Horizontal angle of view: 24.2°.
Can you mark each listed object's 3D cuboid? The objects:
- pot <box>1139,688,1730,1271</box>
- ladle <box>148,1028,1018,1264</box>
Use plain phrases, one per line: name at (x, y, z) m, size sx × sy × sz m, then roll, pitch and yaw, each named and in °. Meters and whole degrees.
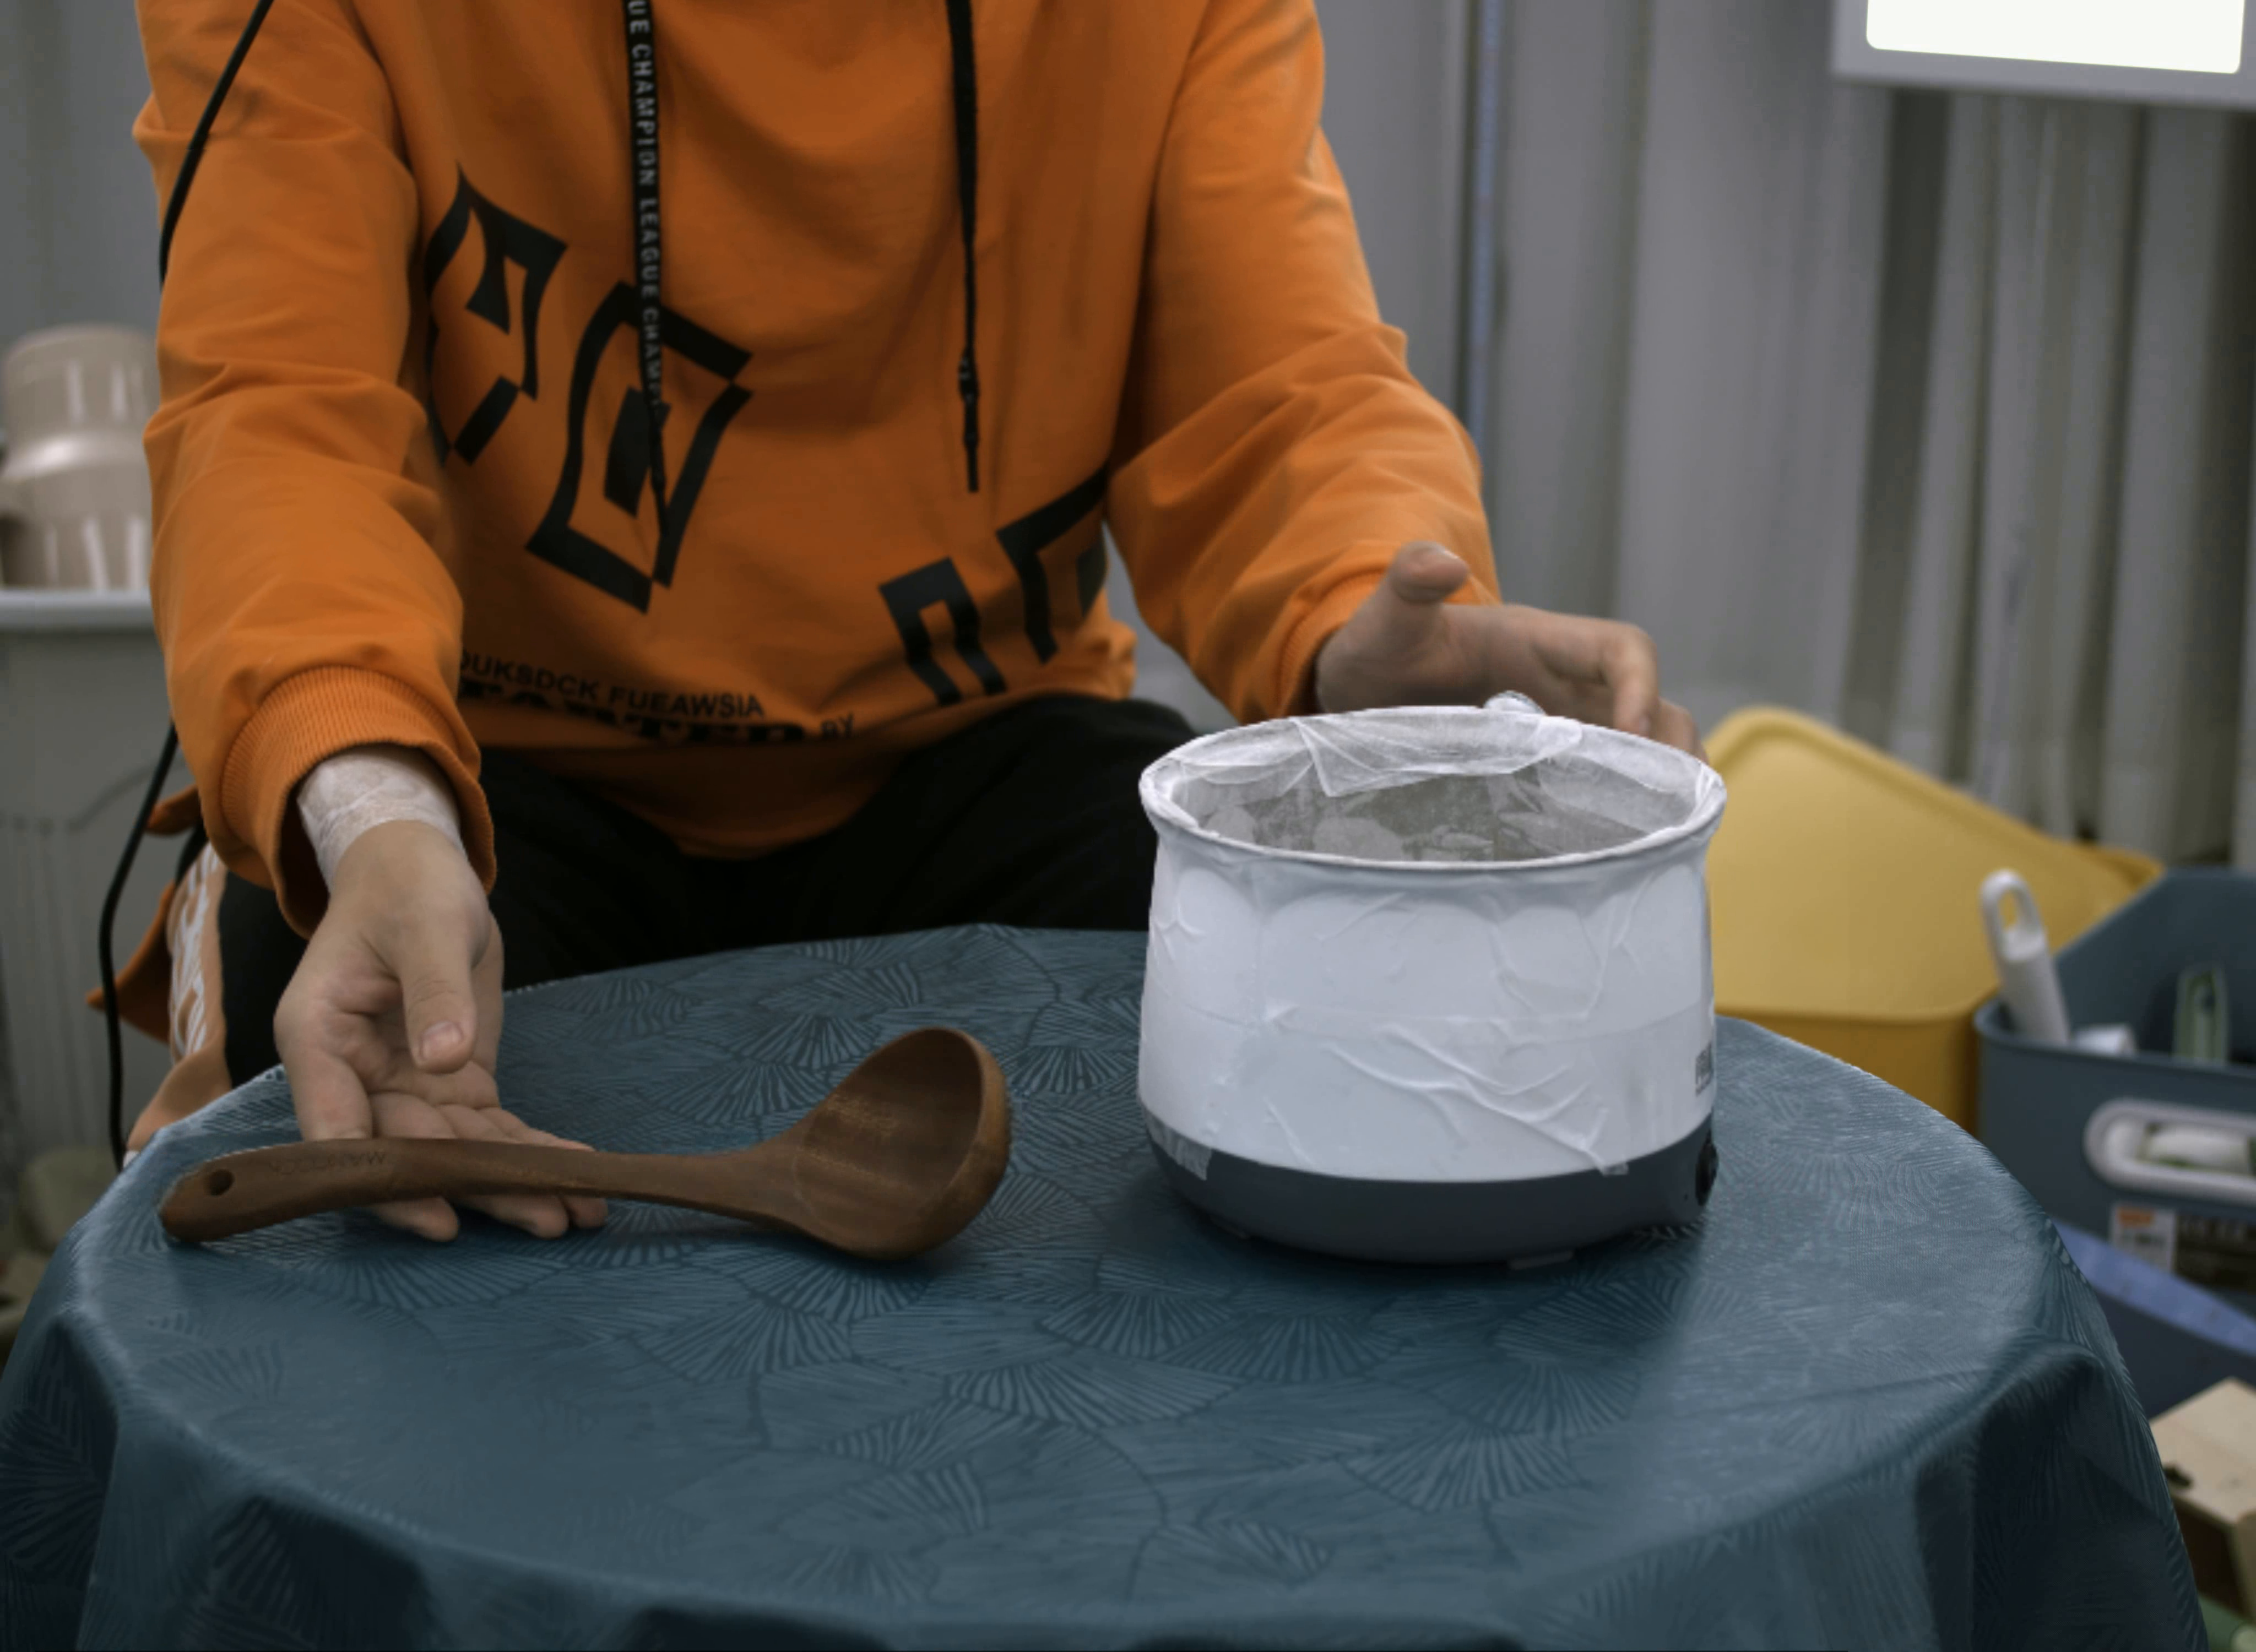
pot at (0.099, 0.041, 1.625) m, size 0.177 × 0.138 × 0.233 m, roll 5°, pitch 17°, yaw 15°
ladle at (-0.162, 0.096, 1.562) m, size 0.259 × 0.066 × 0.076 m, roll 0°, pitch 44°, yaw -3°
